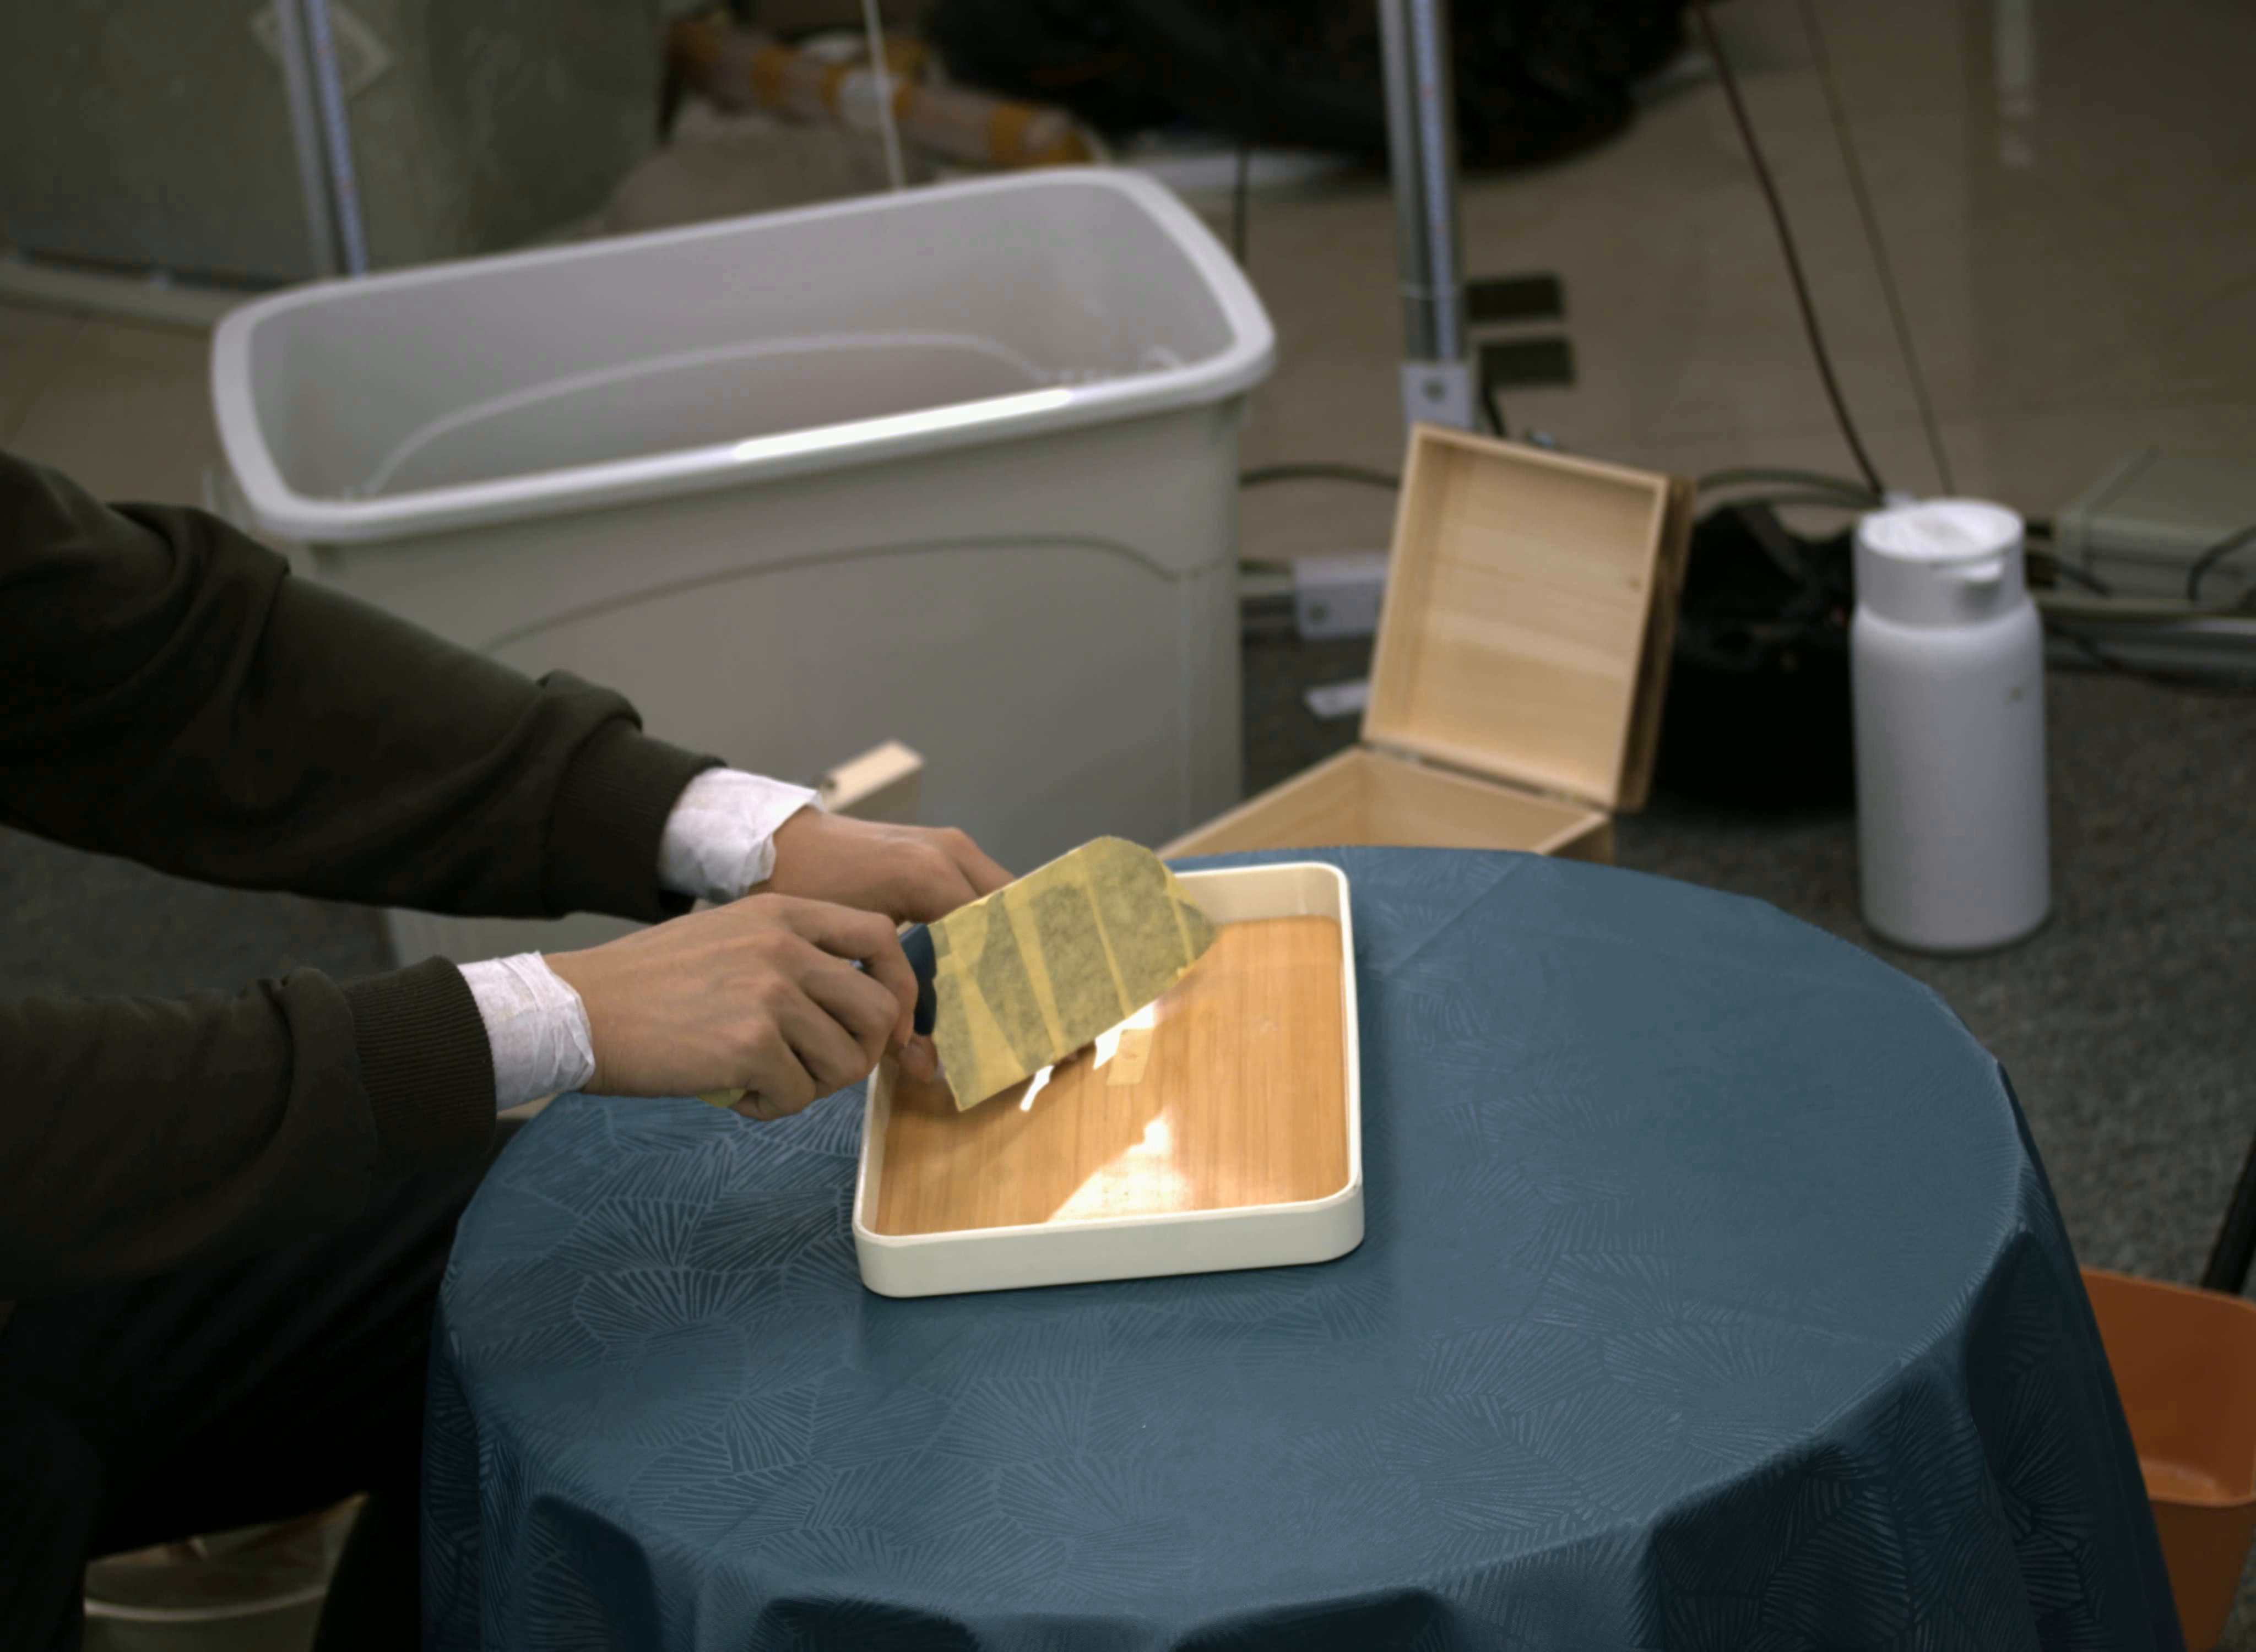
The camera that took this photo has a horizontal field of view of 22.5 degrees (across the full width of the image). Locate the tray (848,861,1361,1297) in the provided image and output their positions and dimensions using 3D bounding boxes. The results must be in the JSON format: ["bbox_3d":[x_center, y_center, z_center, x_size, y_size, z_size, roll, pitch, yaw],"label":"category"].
[{"bbox_3d":[-0.006,0.095,2.216,0.191,0.028,0.296,-6,24,4],"label":"tray"}]

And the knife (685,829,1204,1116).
[{"bbox_3d":[-0.063,0.067,2.193,0.027,0.081,0.287,-11,9,44],"label":"knife"}]
